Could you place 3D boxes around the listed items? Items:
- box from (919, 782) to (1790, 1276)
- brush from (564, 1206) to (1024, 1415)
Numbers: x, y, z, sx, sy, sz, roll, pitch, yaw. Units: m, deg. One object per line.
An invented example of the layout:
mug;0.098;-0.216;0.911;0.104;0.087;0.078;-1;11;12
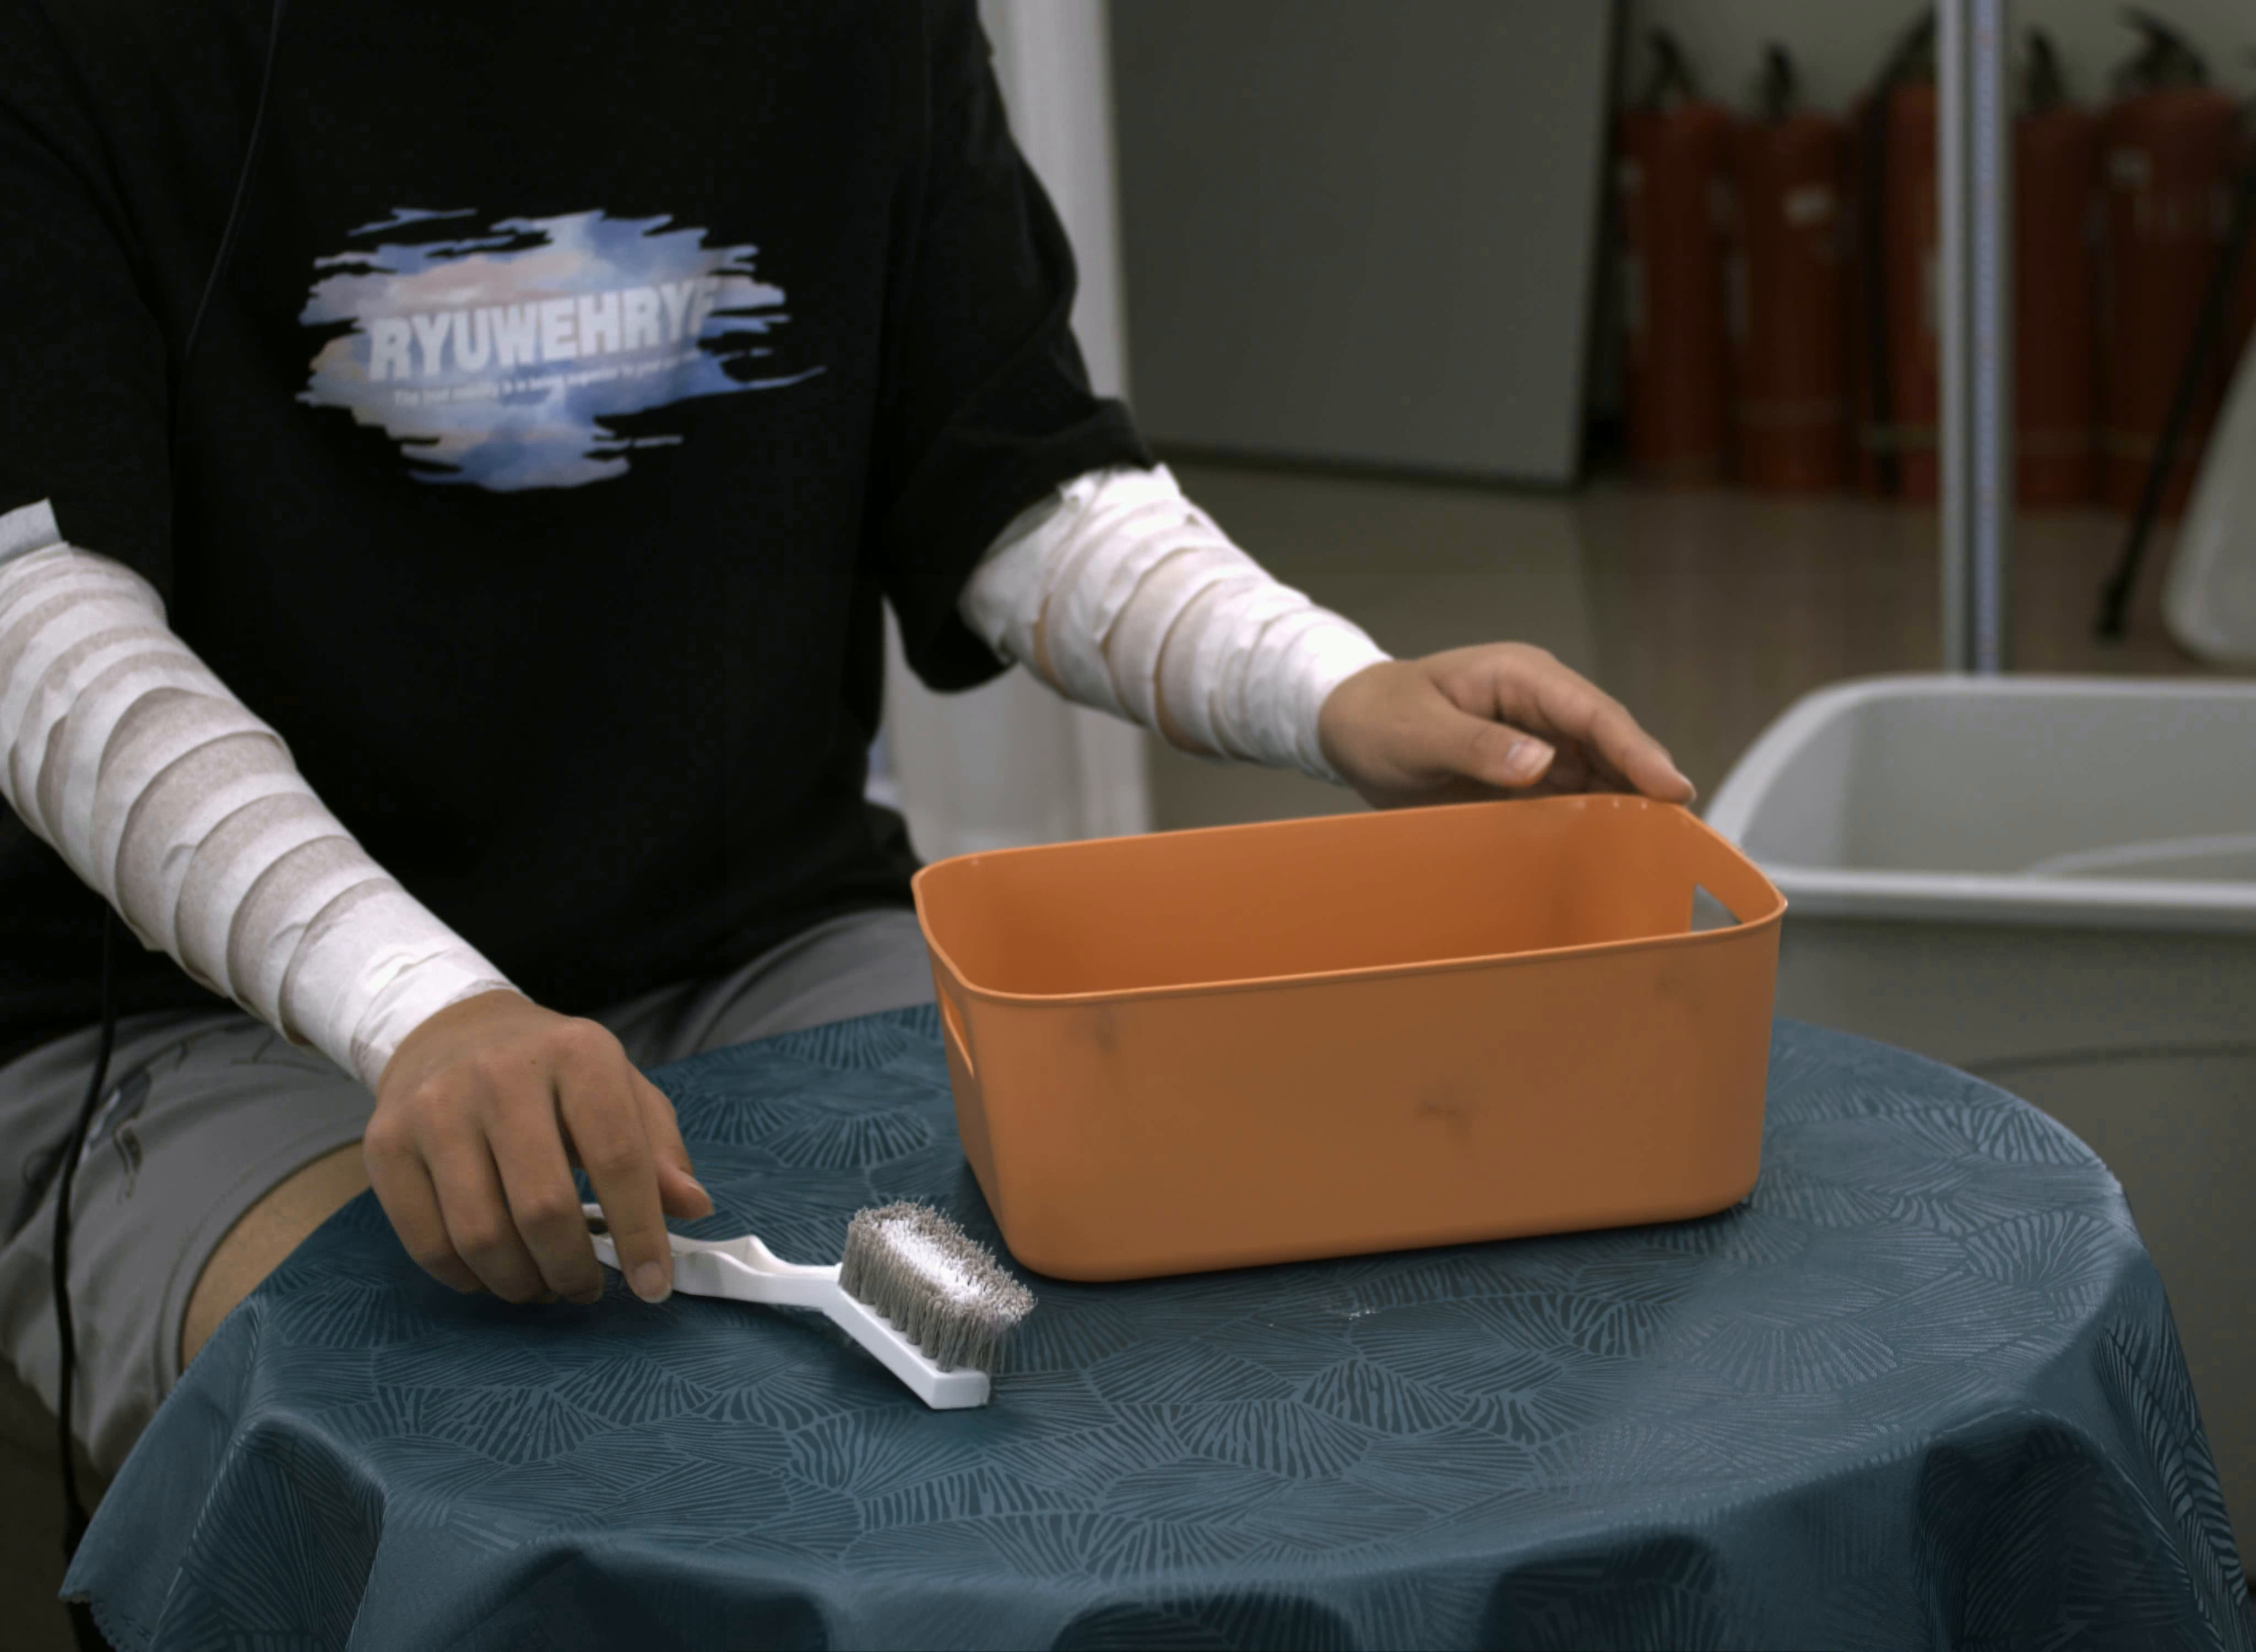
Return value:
box;0.071;0.065;1.756;0.268;0.104;0.200;-5;14;-7
brush;-0.109;0.129;1.667;0.033;0.051;0.246;-11;16;-33
